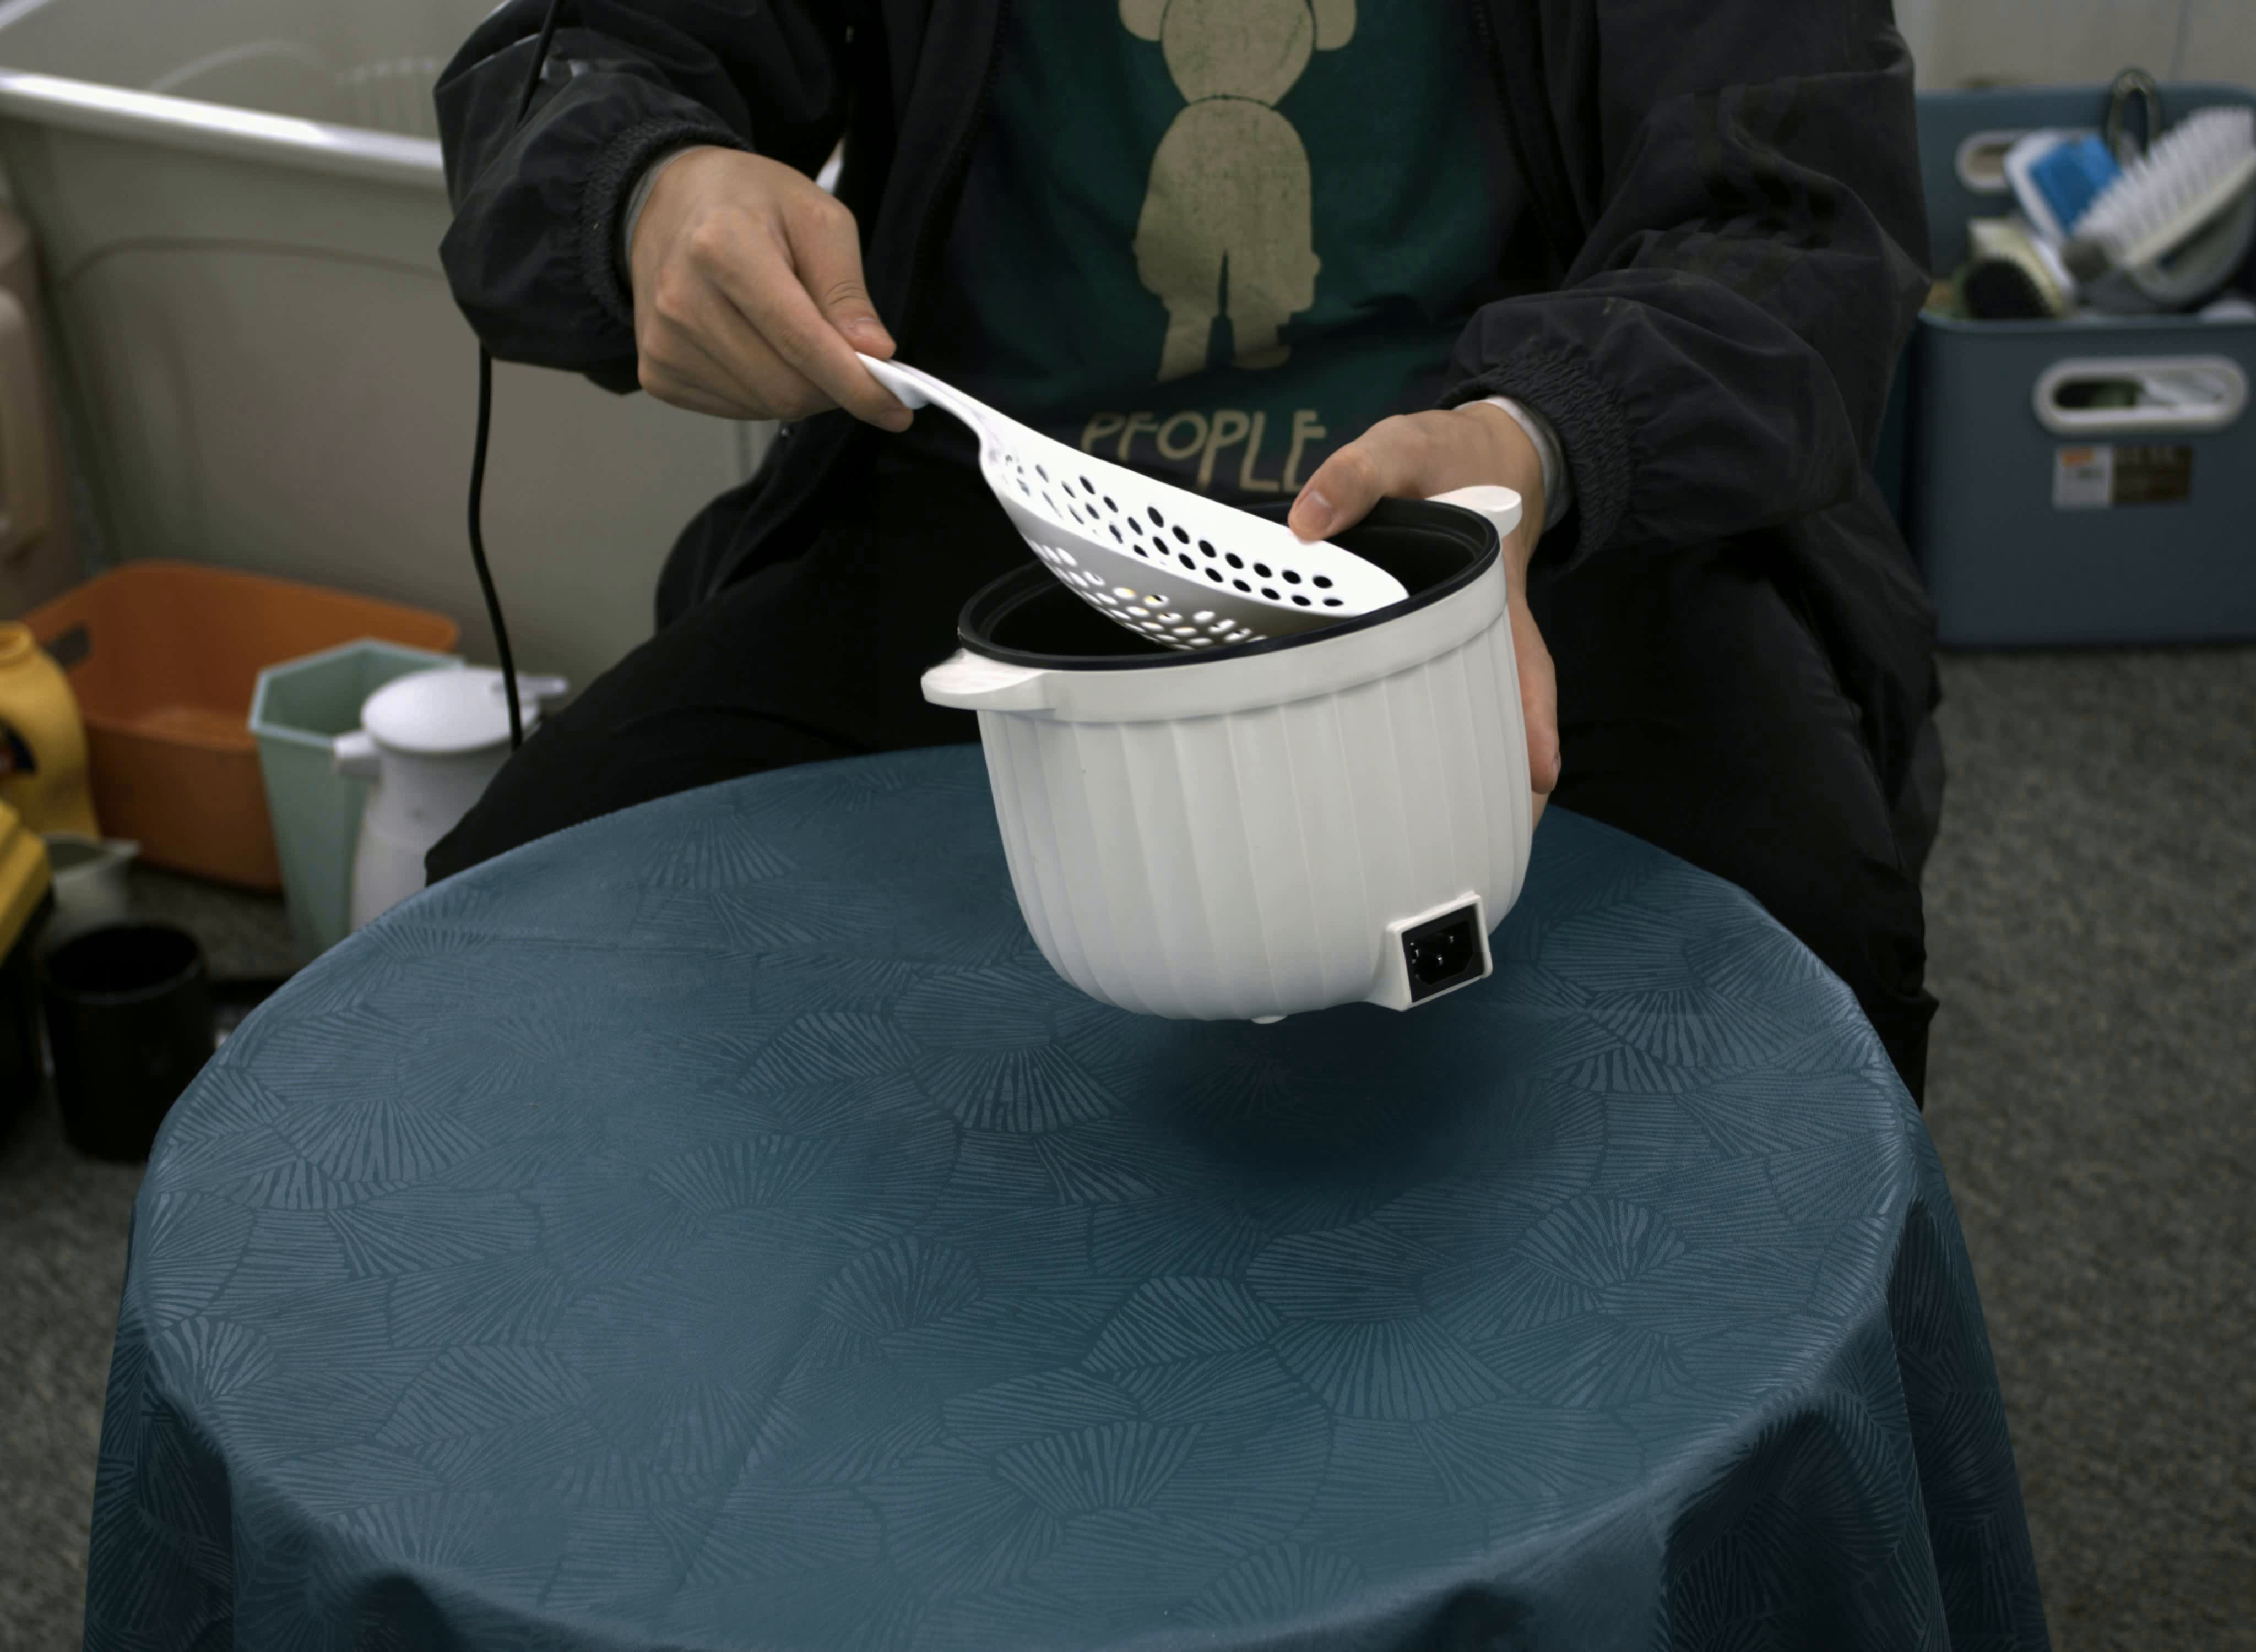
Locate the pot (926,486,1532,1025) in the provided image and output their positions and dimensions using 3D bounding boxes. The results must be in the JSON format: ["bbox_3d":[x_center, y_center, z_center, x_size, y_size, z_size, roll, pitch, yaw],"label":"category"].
[{"bbox_3d":[0.039,-0.020,1.868,0.242,0.142,0.190,-19,22,-33],"label":"pot"}]

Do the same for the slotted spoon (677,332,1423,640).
[{"bbox_3d":[-0.042,-0.126,1.936,0.137,0.050,0.349,3,23,-43],"label":"slotted spoon"}]
